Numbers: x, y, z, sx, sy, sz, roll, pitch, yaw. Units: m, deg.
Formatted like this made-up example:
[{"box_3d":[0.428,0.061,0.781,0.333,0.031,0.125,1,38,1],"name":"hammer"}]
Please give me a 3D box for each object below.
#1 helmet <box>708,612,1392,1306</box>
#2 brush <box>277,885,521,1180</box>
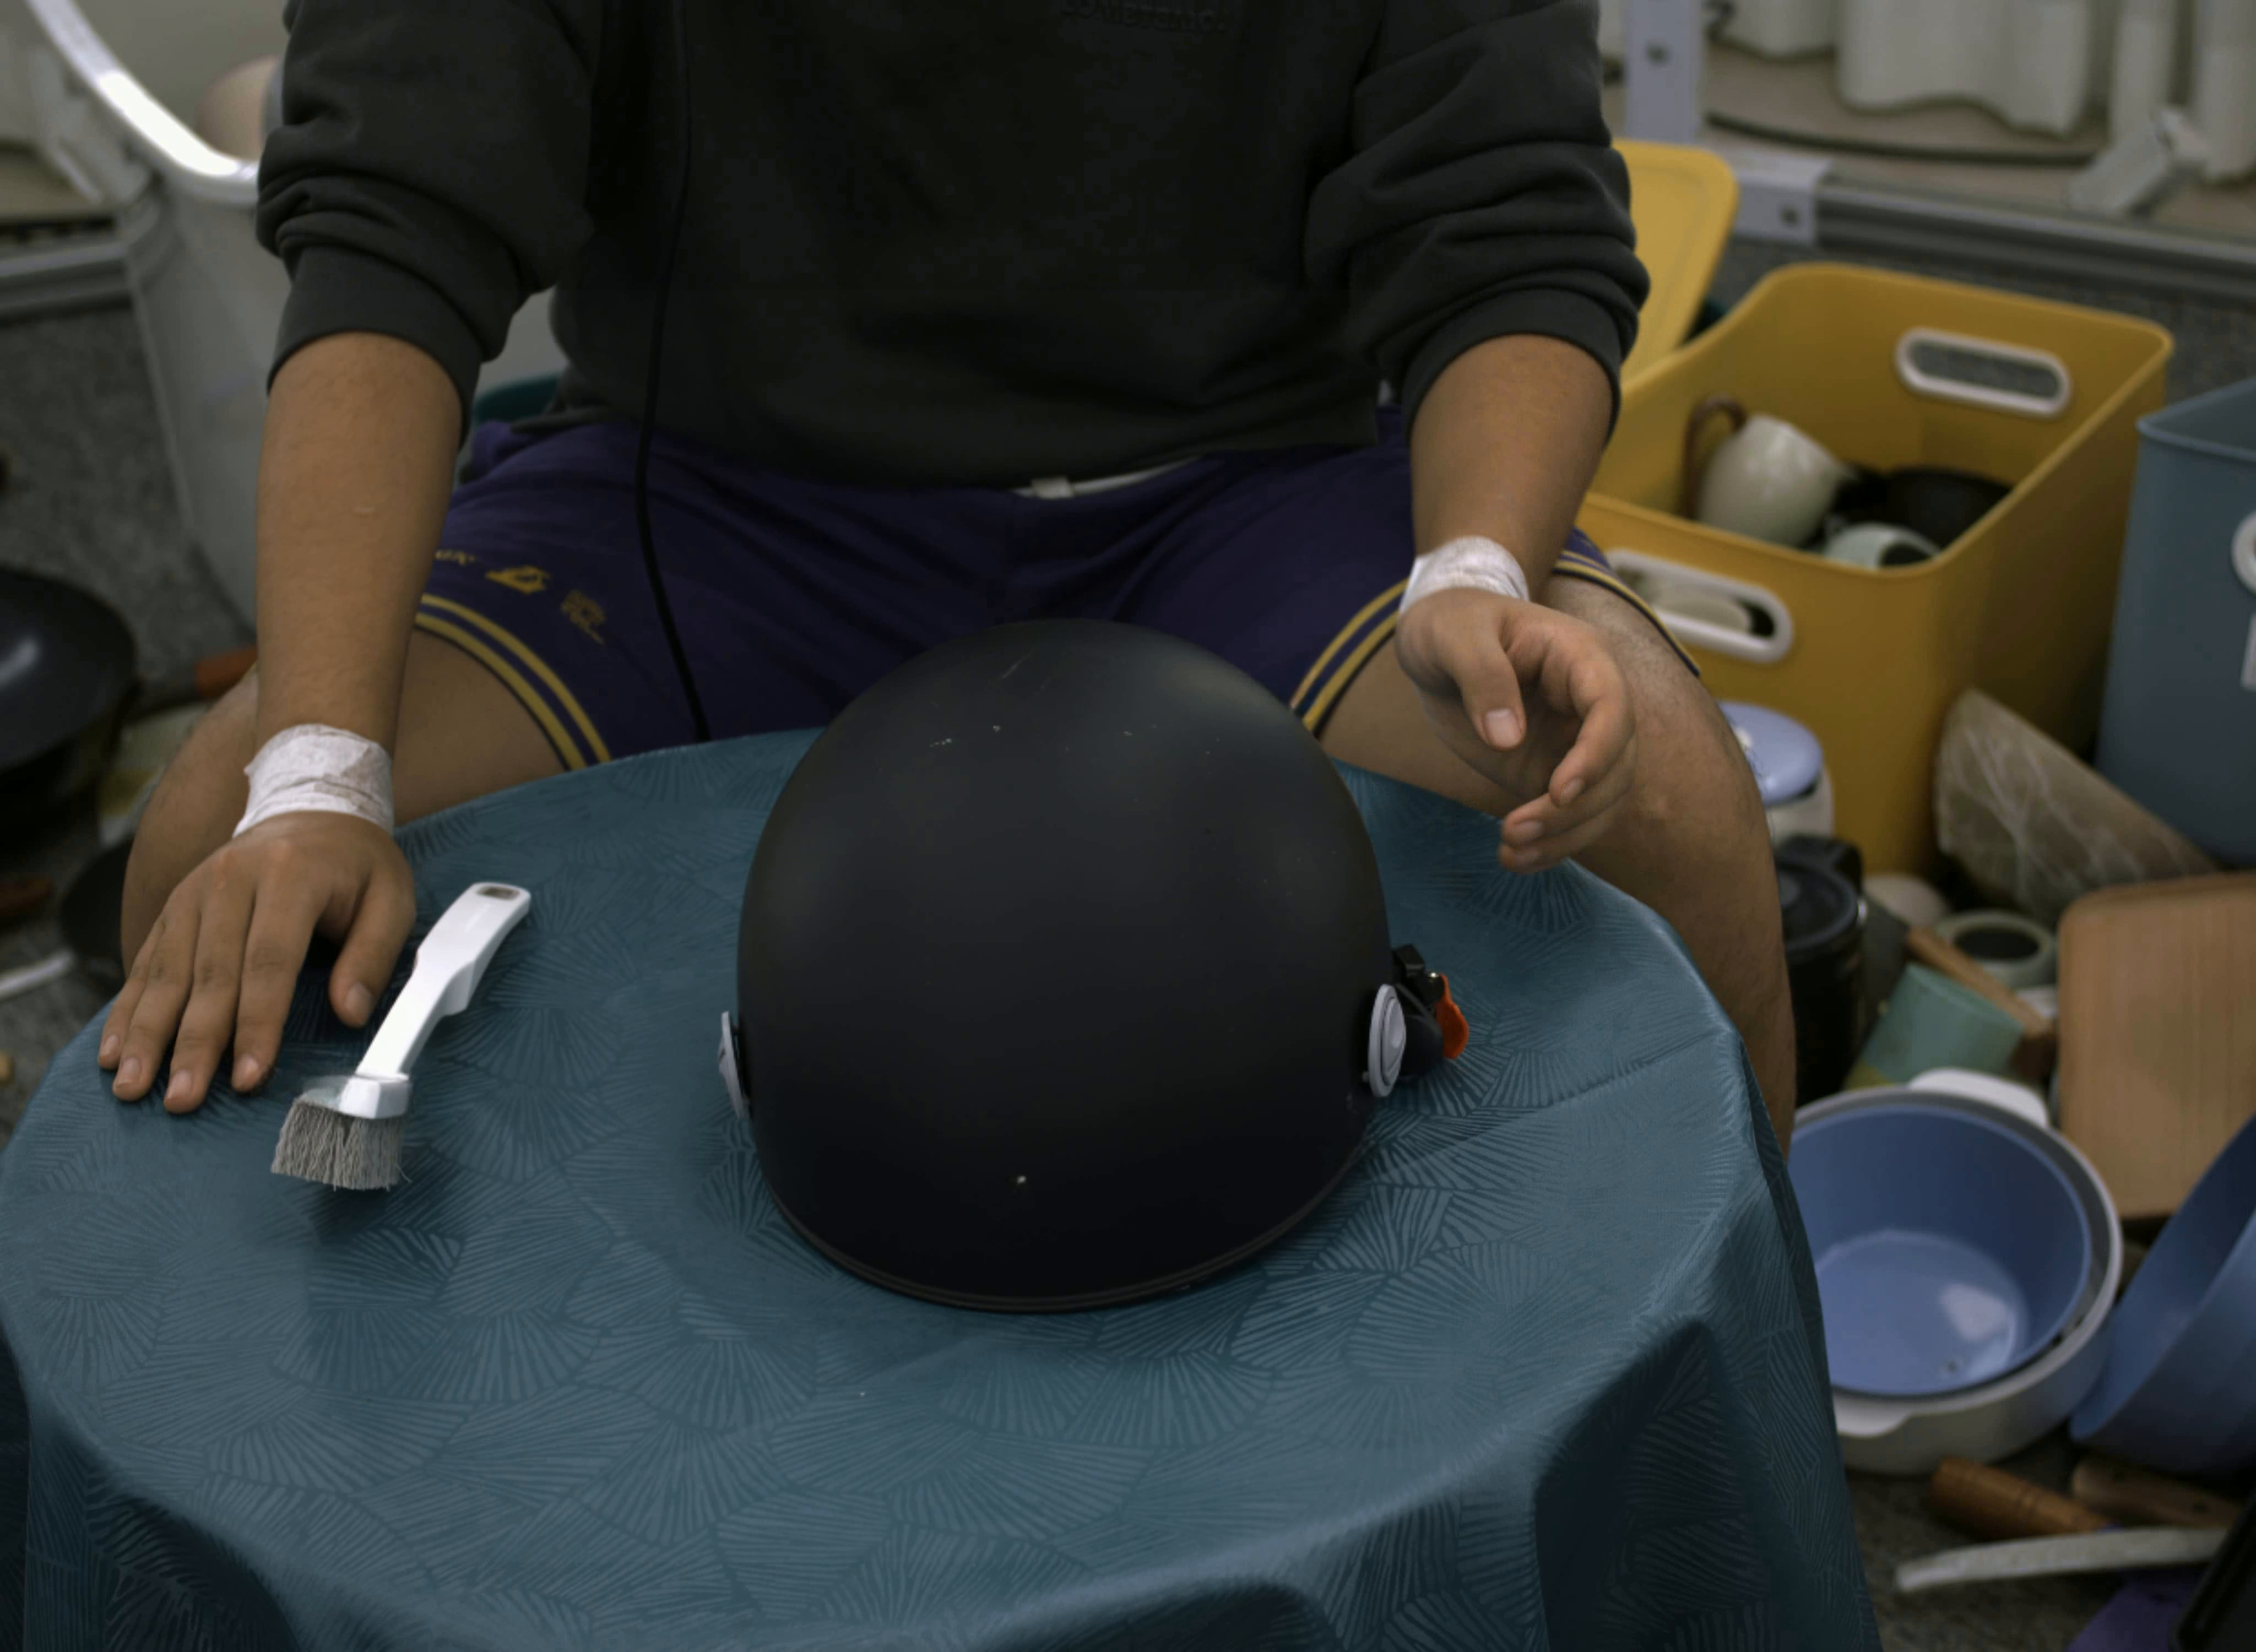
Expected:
[{"box_3d":[-0.026,0.025,1.882,0.228,0.165,0.278,-2,29,8],"name":"helmet"},{"box_3d":[-0.249,0.075,1.951,0.034,0.050,0.246,9,16,5],"name":"brush"}]
